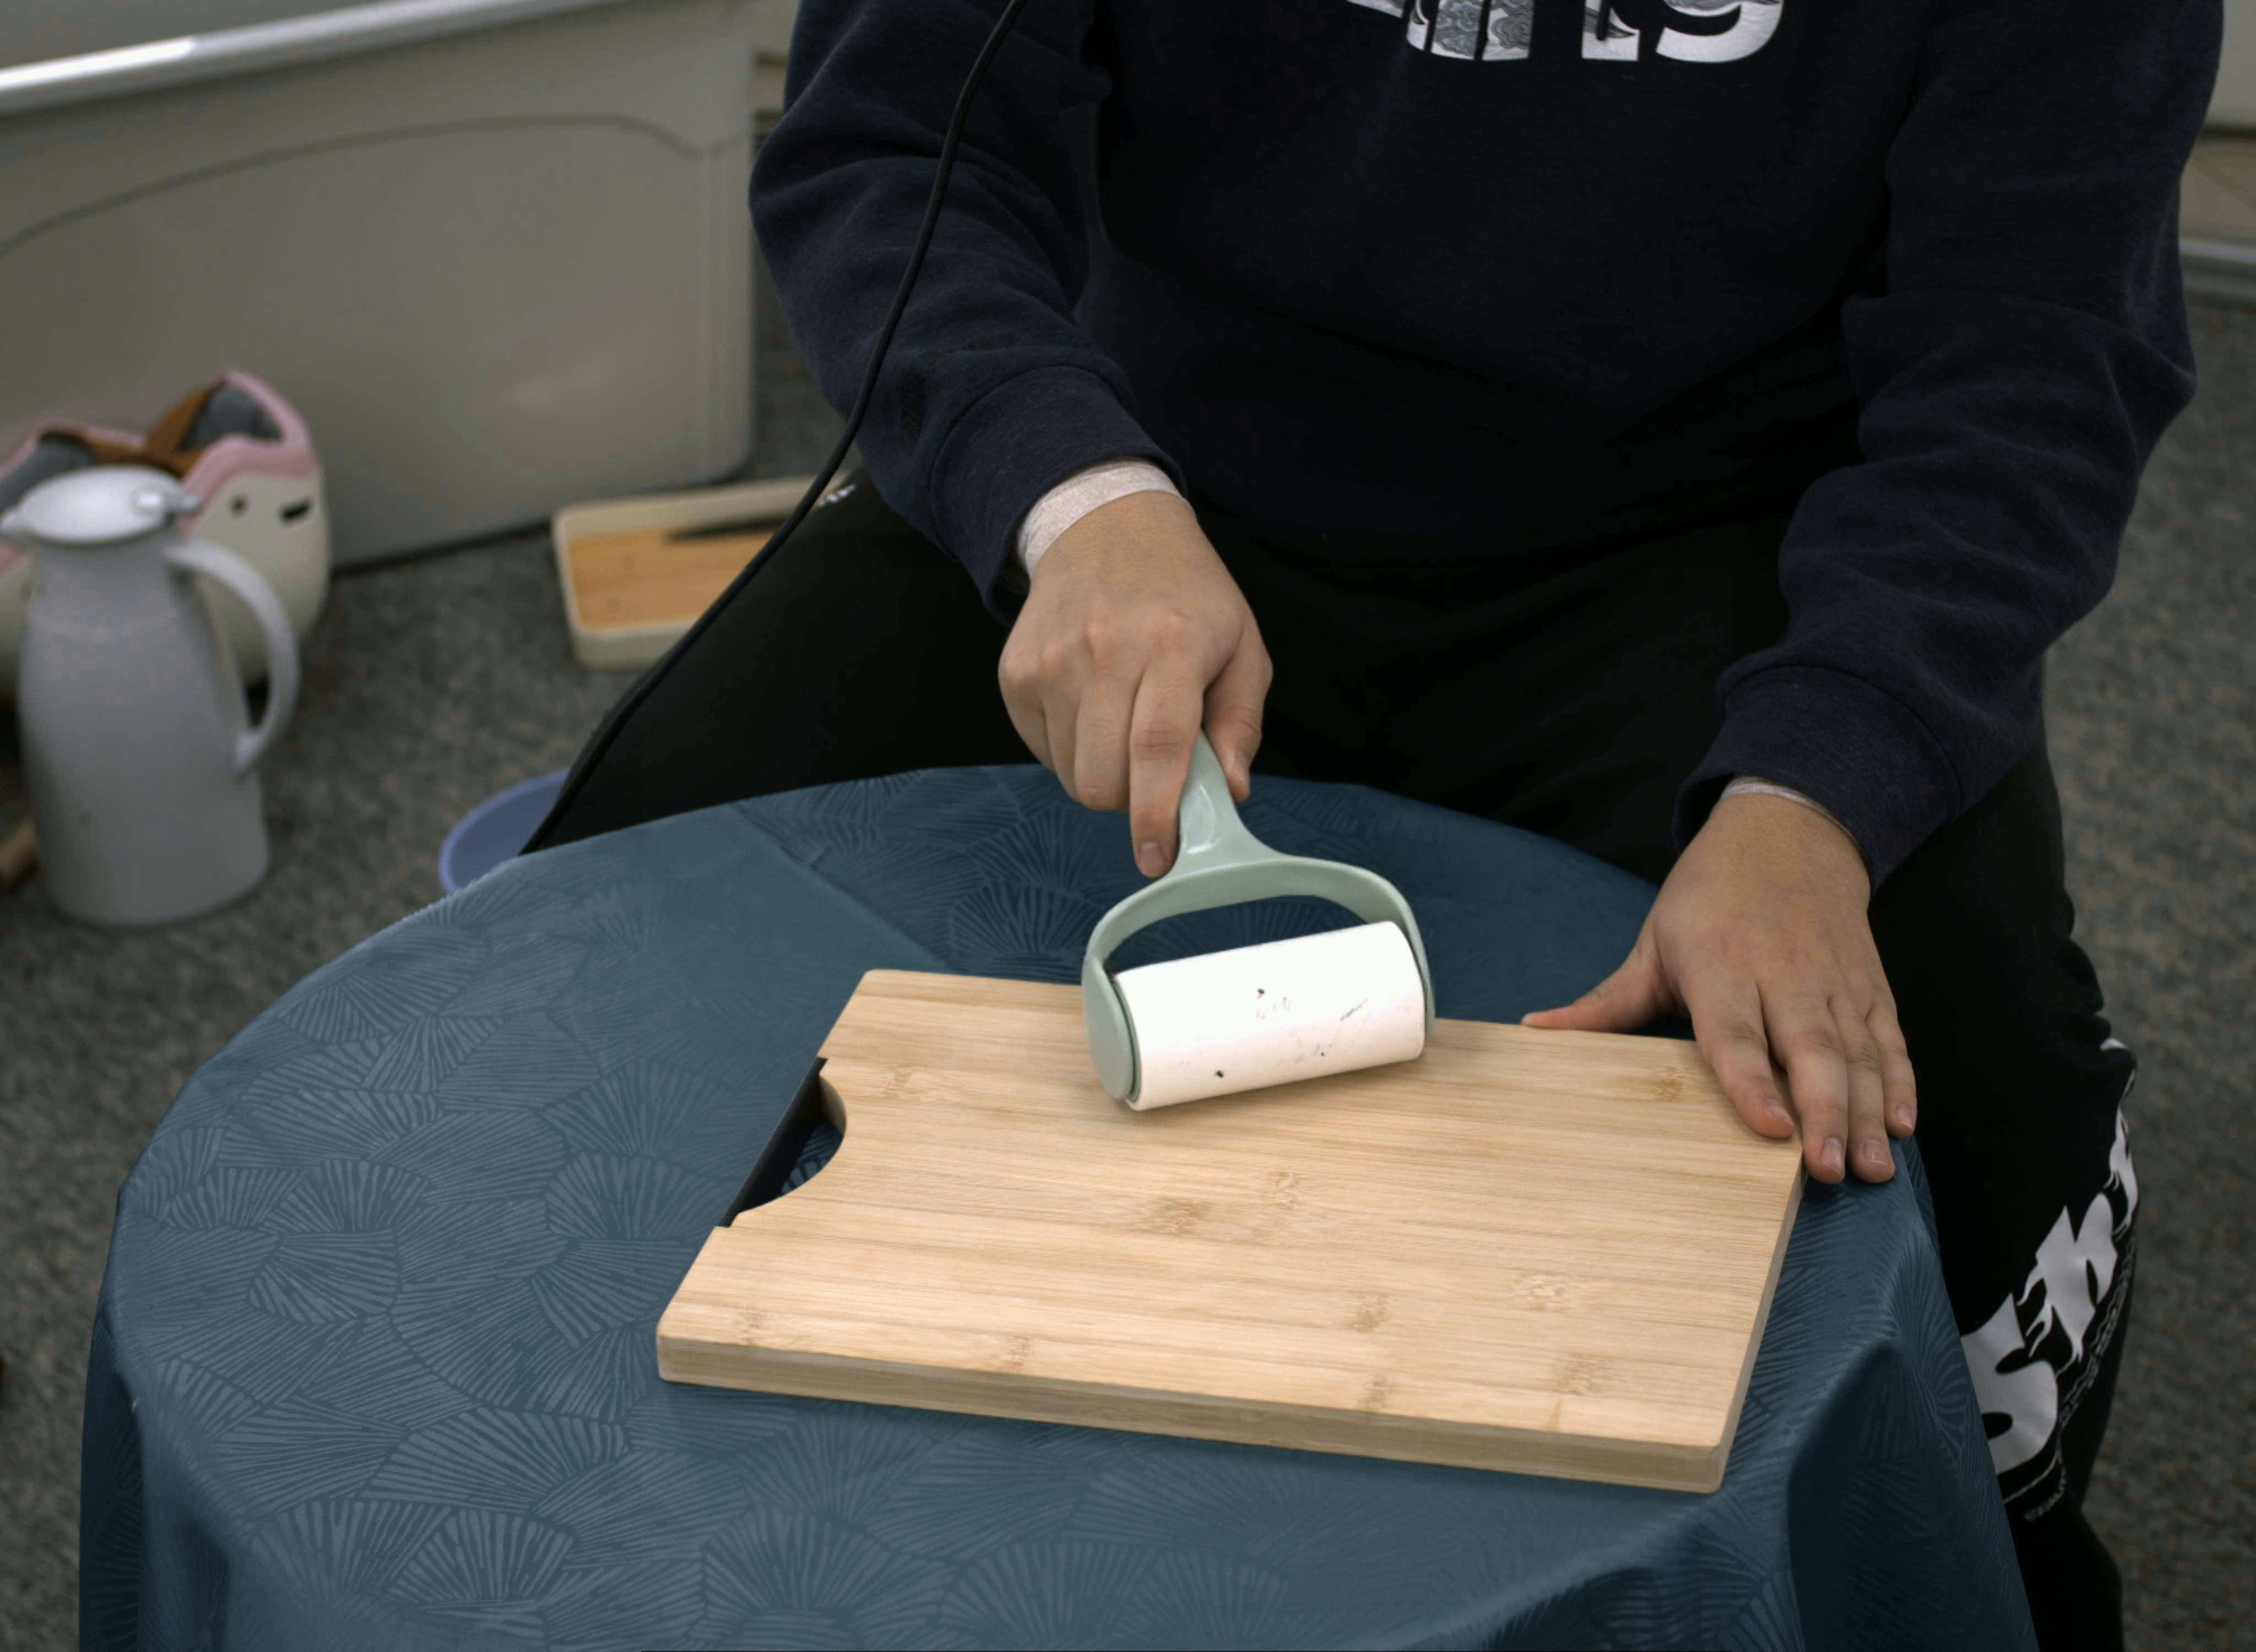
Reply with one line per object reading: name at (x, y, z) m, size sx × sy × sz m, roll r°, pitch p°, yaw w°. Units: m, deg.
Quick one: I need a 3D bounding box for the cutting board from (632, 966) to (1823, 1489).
cutting board at (0.038, 0.126, 1.836) m, size 0.346 × 0.023 × 0.255 m, roll 4°, pitch 28°, yaw 13°

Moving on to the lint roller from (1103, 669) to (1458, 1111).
lint roller at (0.032, 0.008, 1.934) m, size 0.117 × 0.048 × 0.200 m, roll -11°, pitch 50°, yaw -13°
